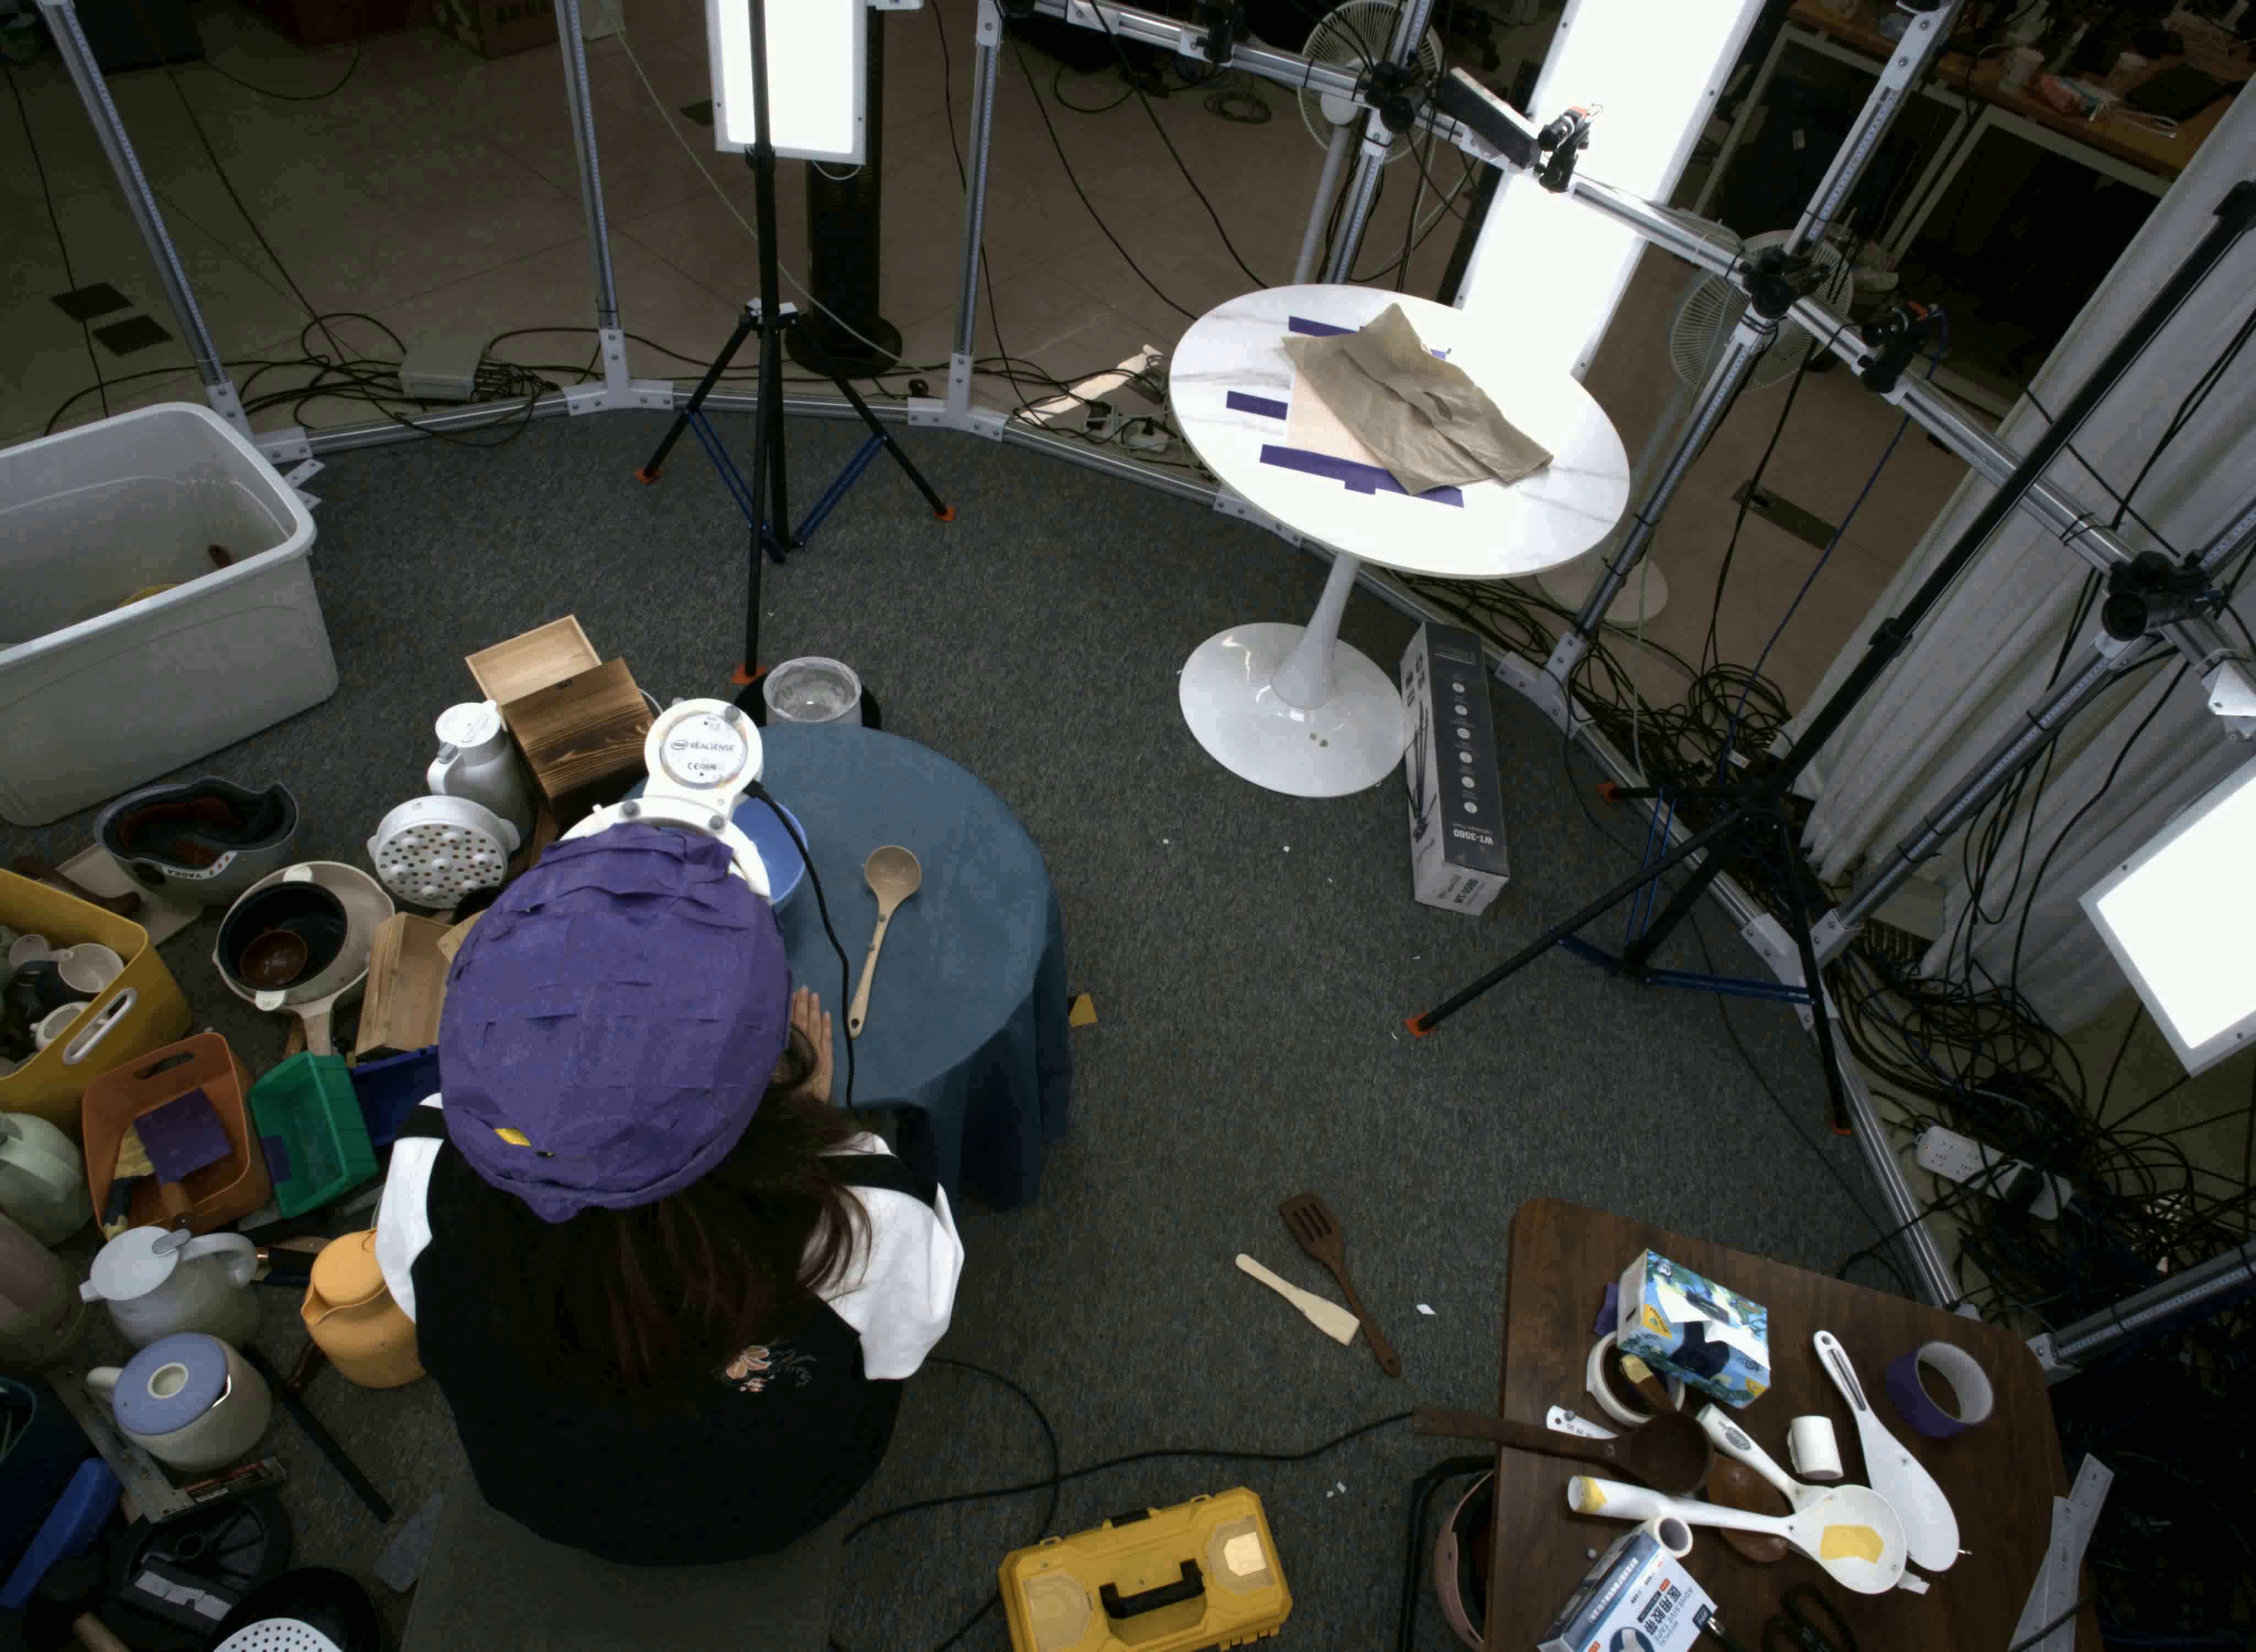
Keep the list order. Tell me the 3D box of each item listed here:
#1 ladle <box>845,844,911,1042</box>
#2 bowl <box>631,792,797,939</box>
[{"bbox_3d":[-0.319,0.134,1.599,0.072,0.074,0.250,8,52,-5],"label":"ladle"},{"bbox_3d":[-0.507,0.062,1.591,0.196,0.097,0.193,8,51,-9],"label":"bowl"}]
